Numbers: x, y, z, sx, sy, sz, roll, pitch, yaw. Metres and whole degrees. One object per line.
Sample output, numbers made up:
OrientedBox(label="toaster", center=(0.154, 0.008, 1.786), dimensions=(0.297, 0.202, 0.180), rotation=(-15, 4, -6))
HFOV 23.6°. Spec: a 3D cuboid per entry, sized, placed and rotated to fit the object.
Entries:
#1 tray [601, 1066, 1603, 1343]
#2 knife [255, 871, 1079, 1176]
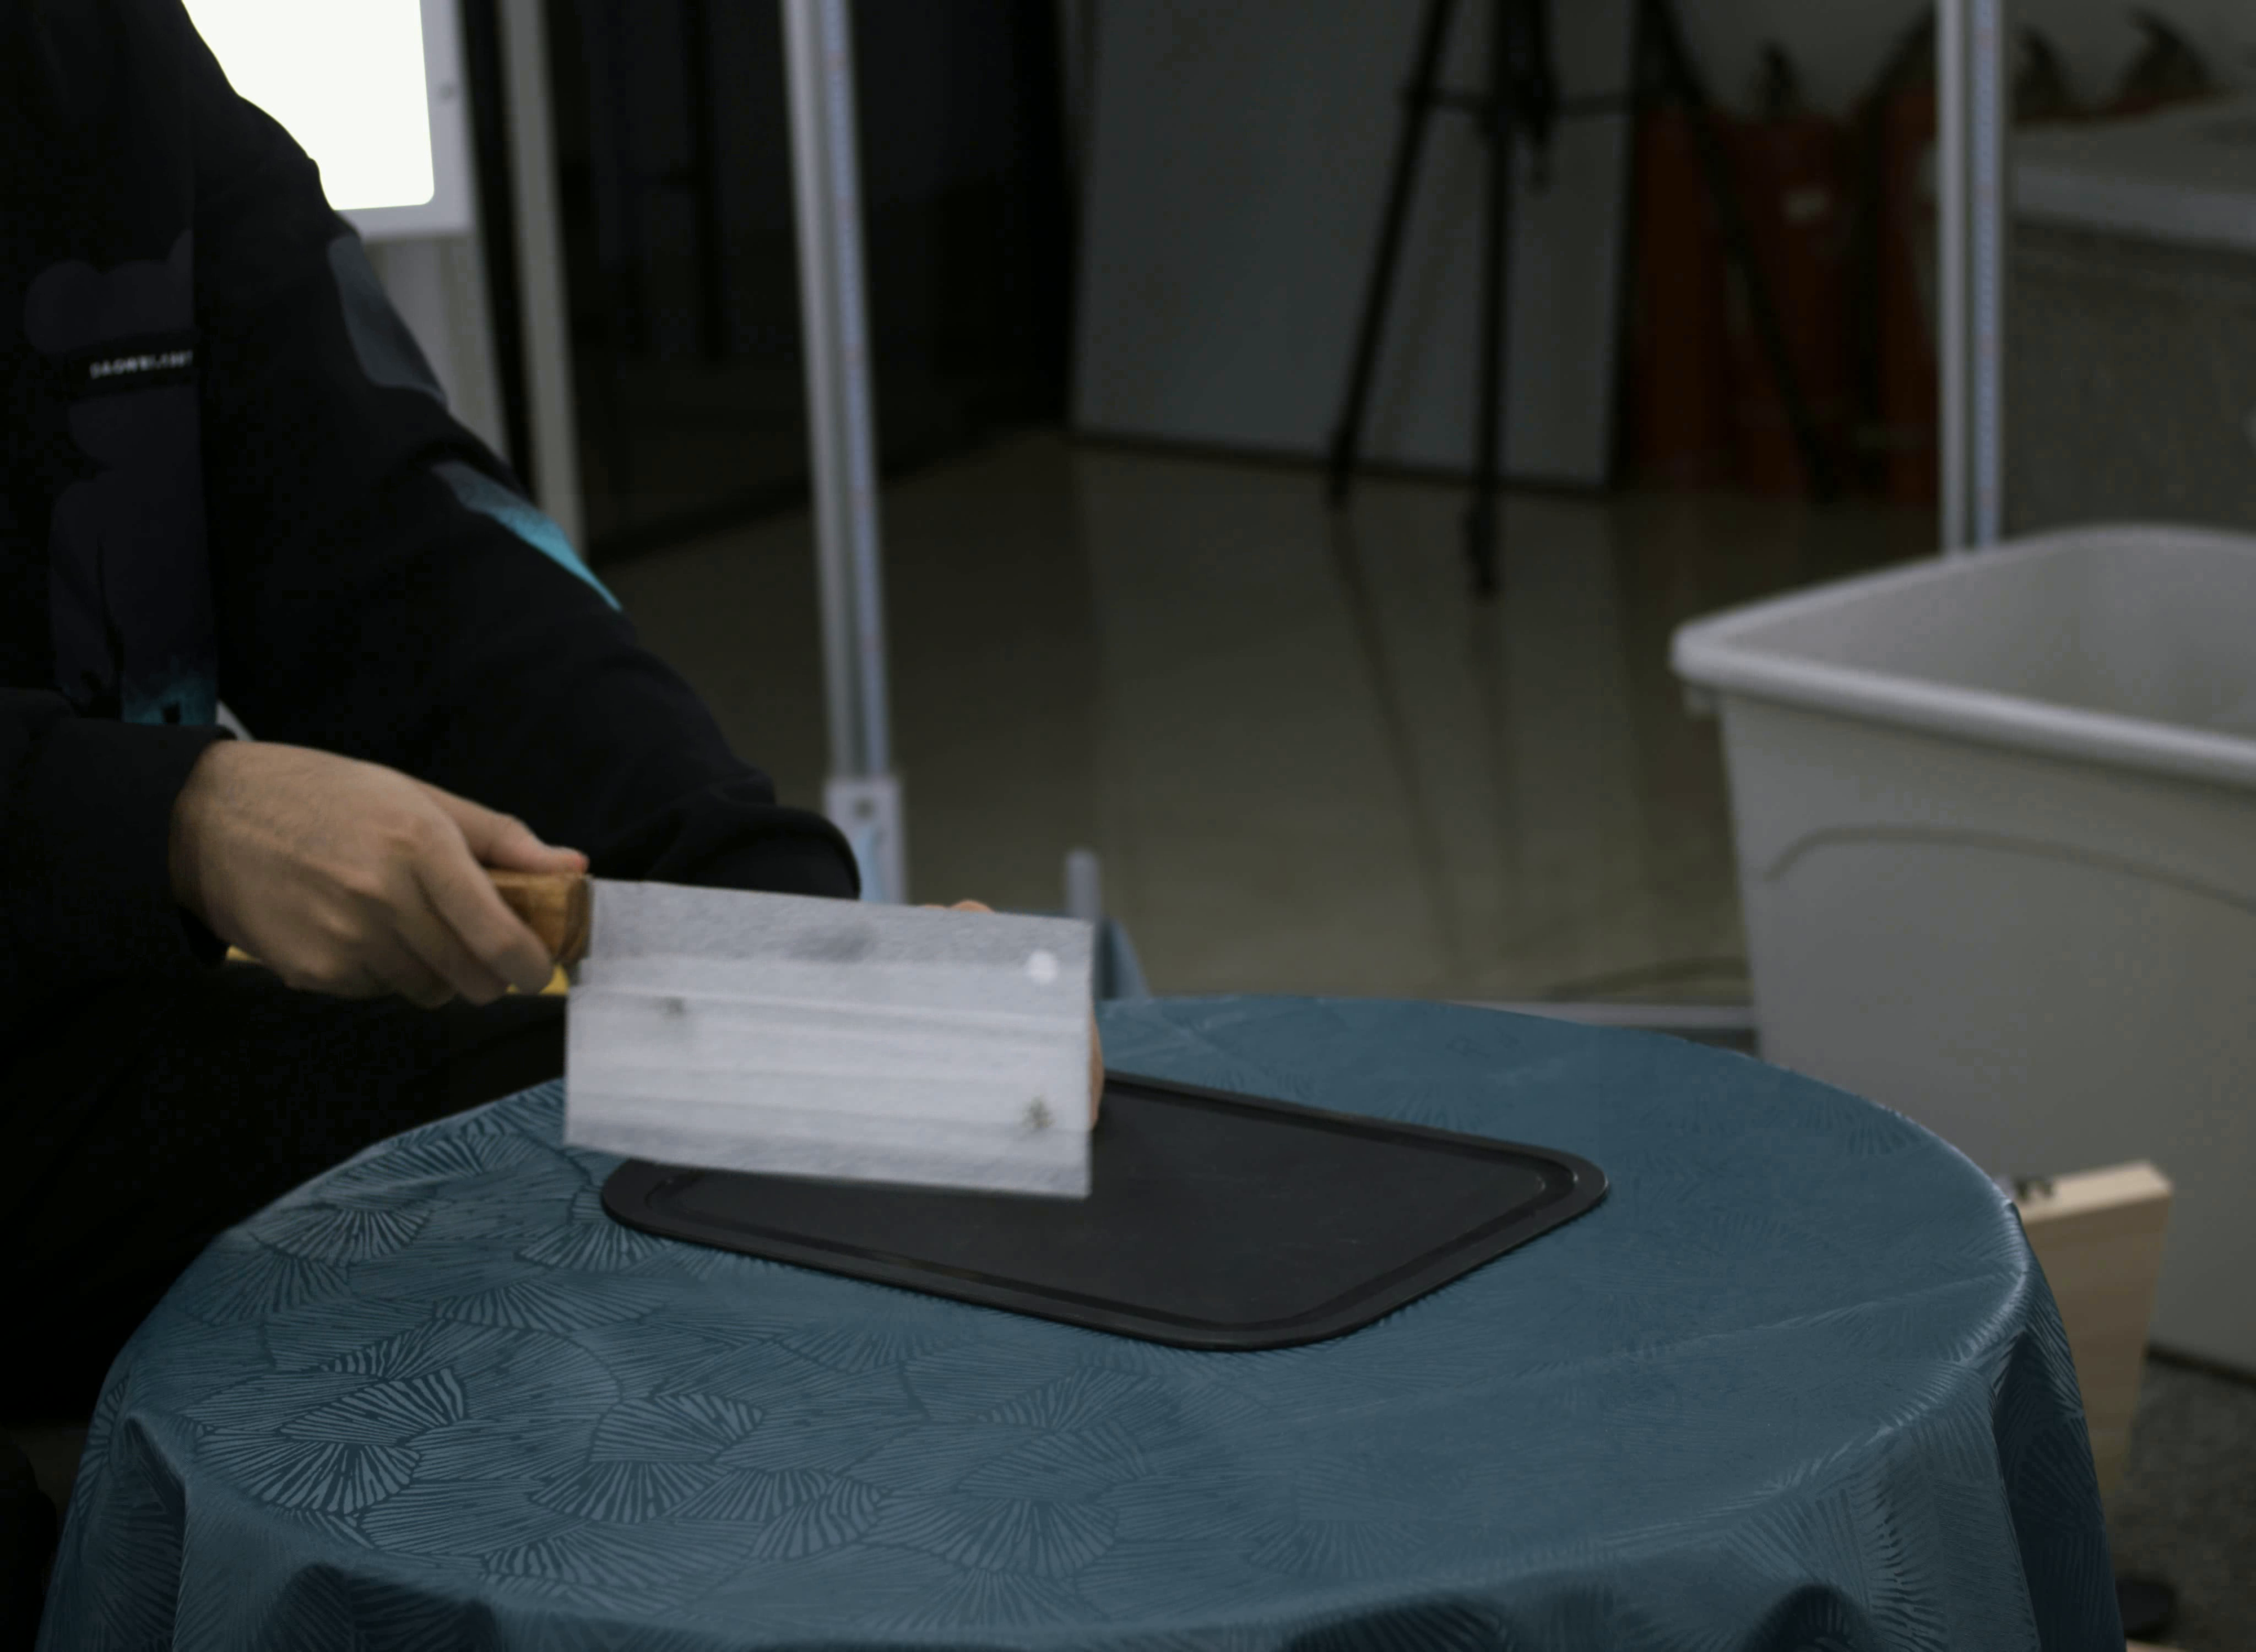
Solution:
OrientedBox(label="tray", center=(-0.018, 0.118, 1.773), dimensions=(0.328, 0.010, 0.207), rotation=(8, 18, 39))
OrientedBox(label="knife", center=(-0.151, 0.063, 1.724), dimensions=(0.306, 0.094, 0.020), rotation=(4, 5, 27))
